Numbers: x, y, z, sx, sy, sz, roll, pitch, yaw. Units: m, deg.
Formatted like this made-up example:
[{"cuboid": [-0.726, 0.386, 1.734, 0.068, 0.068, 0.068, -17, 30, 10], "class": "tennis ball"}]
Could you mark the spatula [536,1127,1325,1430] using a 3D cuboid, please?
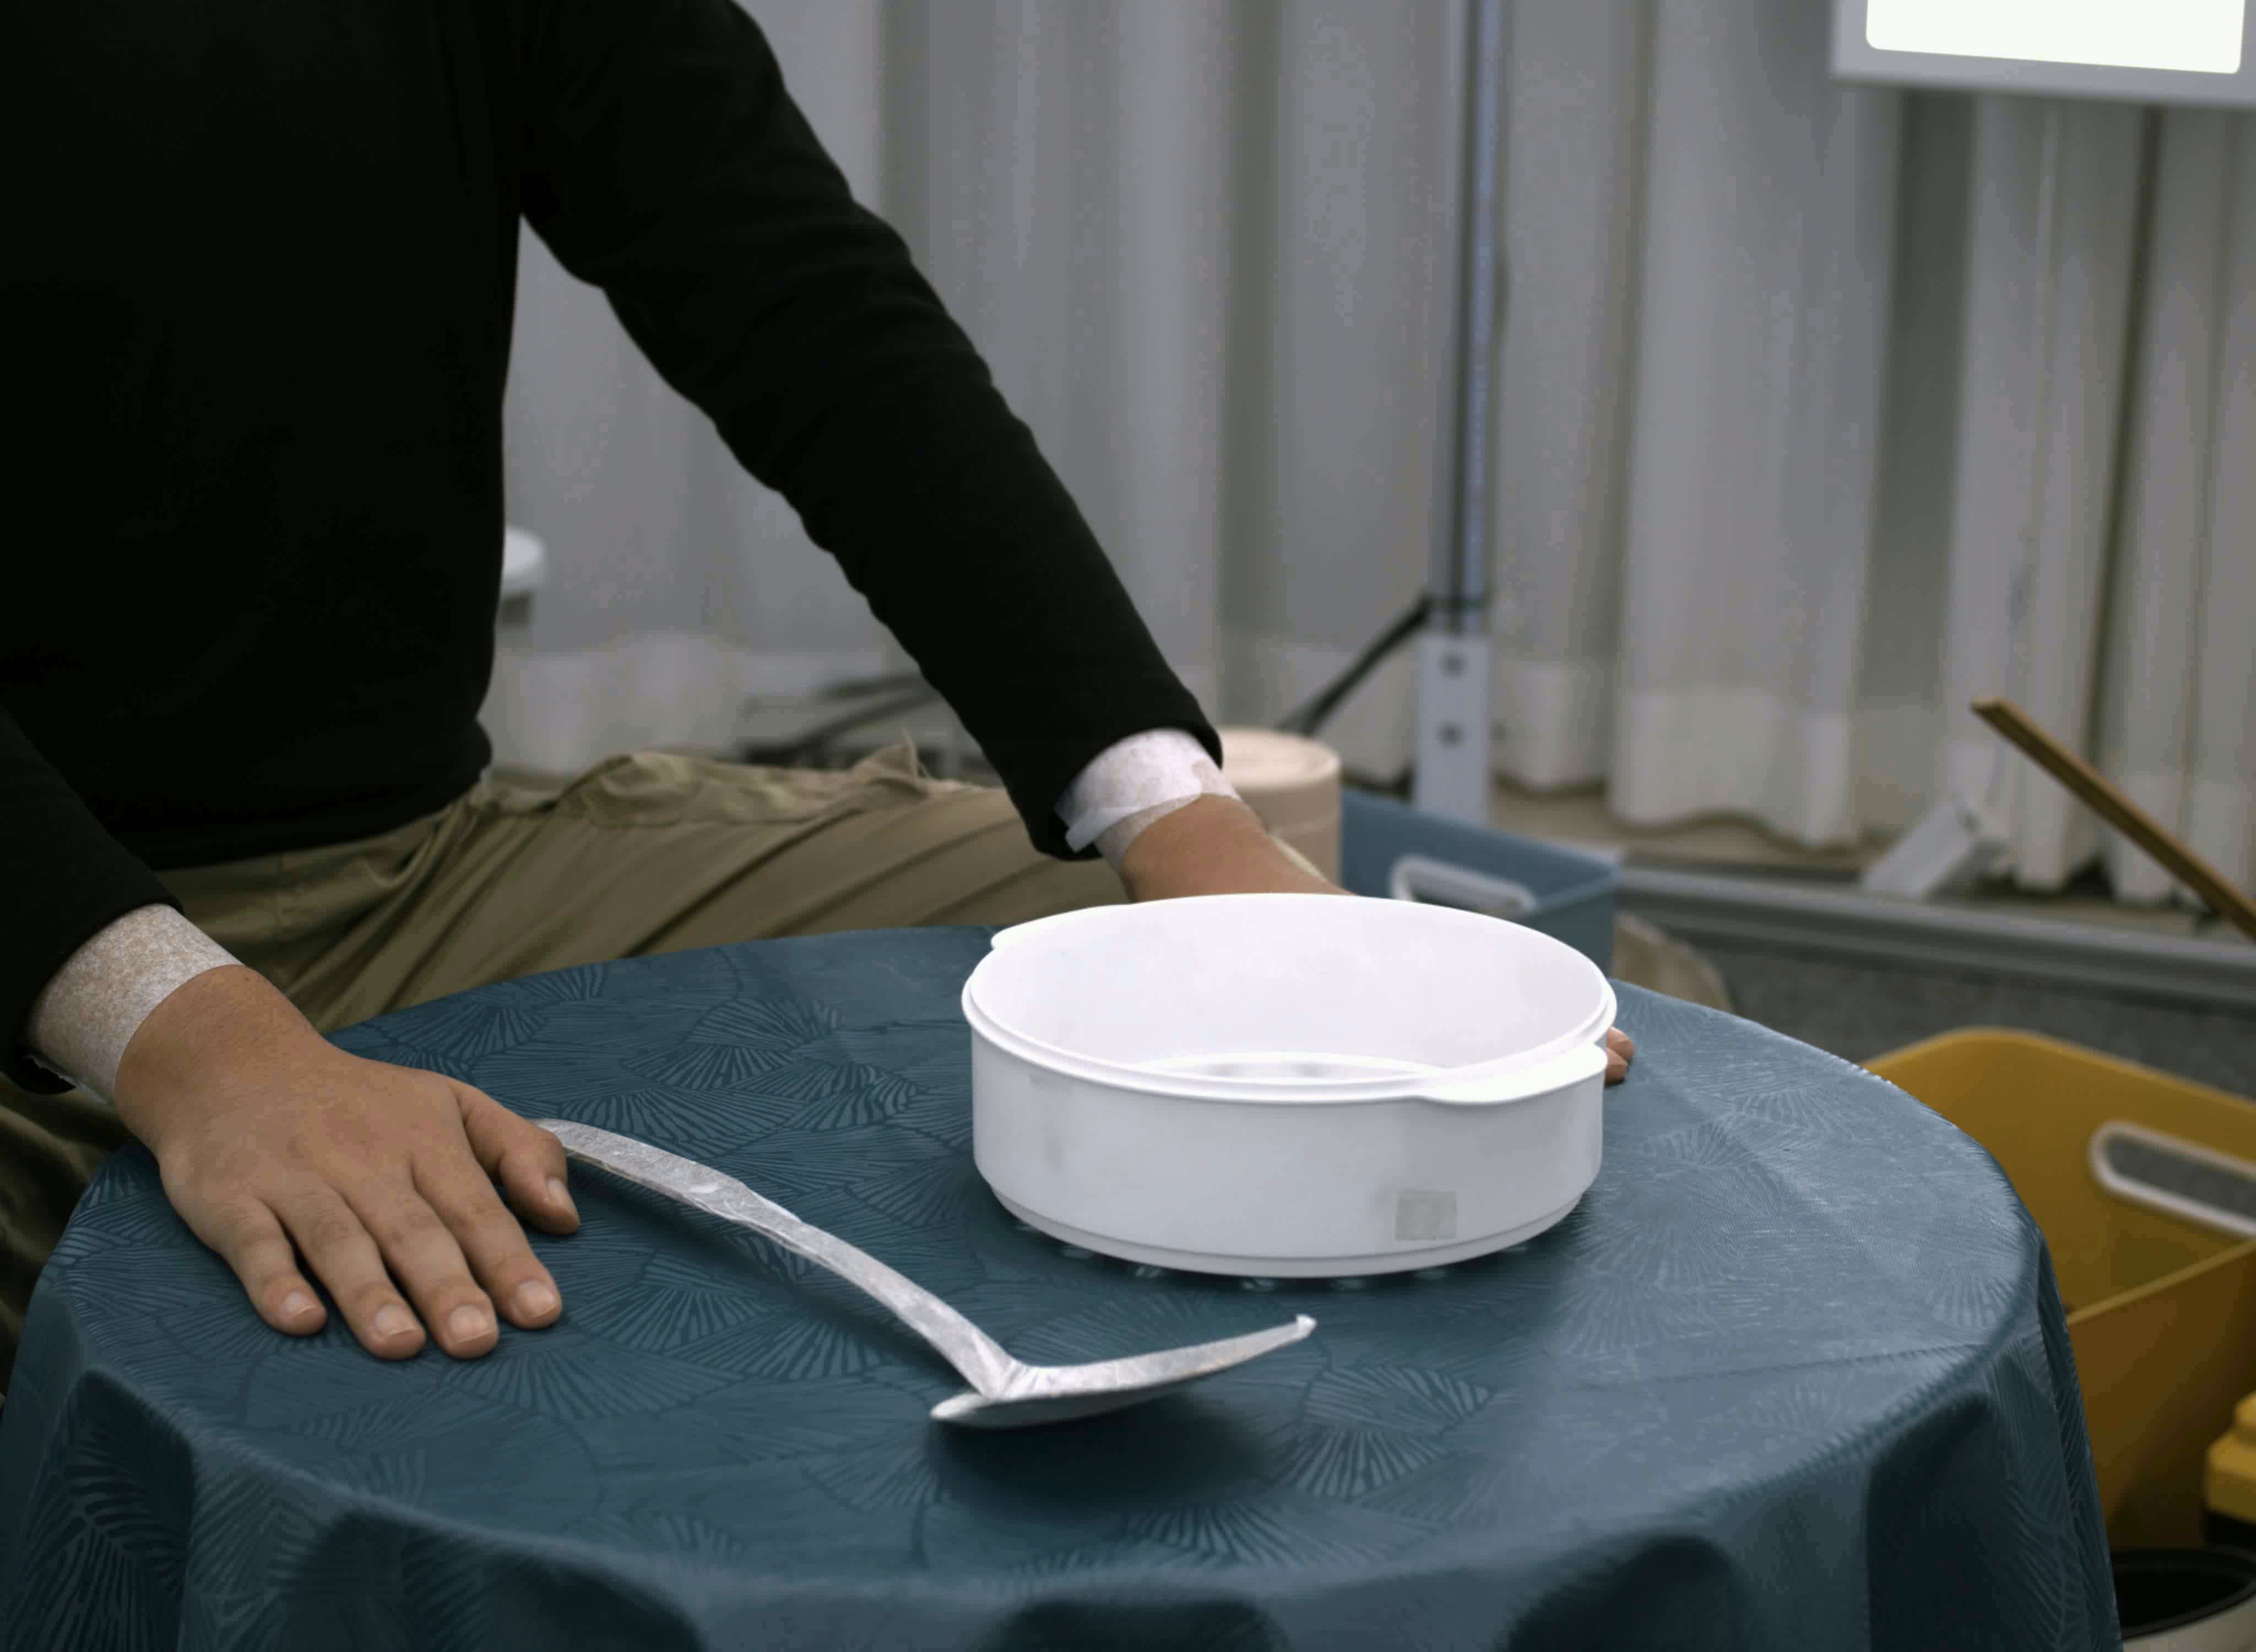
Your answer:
[{"cuboid": [-0.082, 0.120, 1.519, 0.099, 0.045, 0.360, -13, 20, -34], "class": "spatula"}]

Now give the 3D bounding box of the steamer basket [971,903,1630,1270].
[{"cuboid": [0.052, 0.079, 1.610, 0.203, 0.070, 0.227, -11, 18, -40], "class": "steamer basket"}]
